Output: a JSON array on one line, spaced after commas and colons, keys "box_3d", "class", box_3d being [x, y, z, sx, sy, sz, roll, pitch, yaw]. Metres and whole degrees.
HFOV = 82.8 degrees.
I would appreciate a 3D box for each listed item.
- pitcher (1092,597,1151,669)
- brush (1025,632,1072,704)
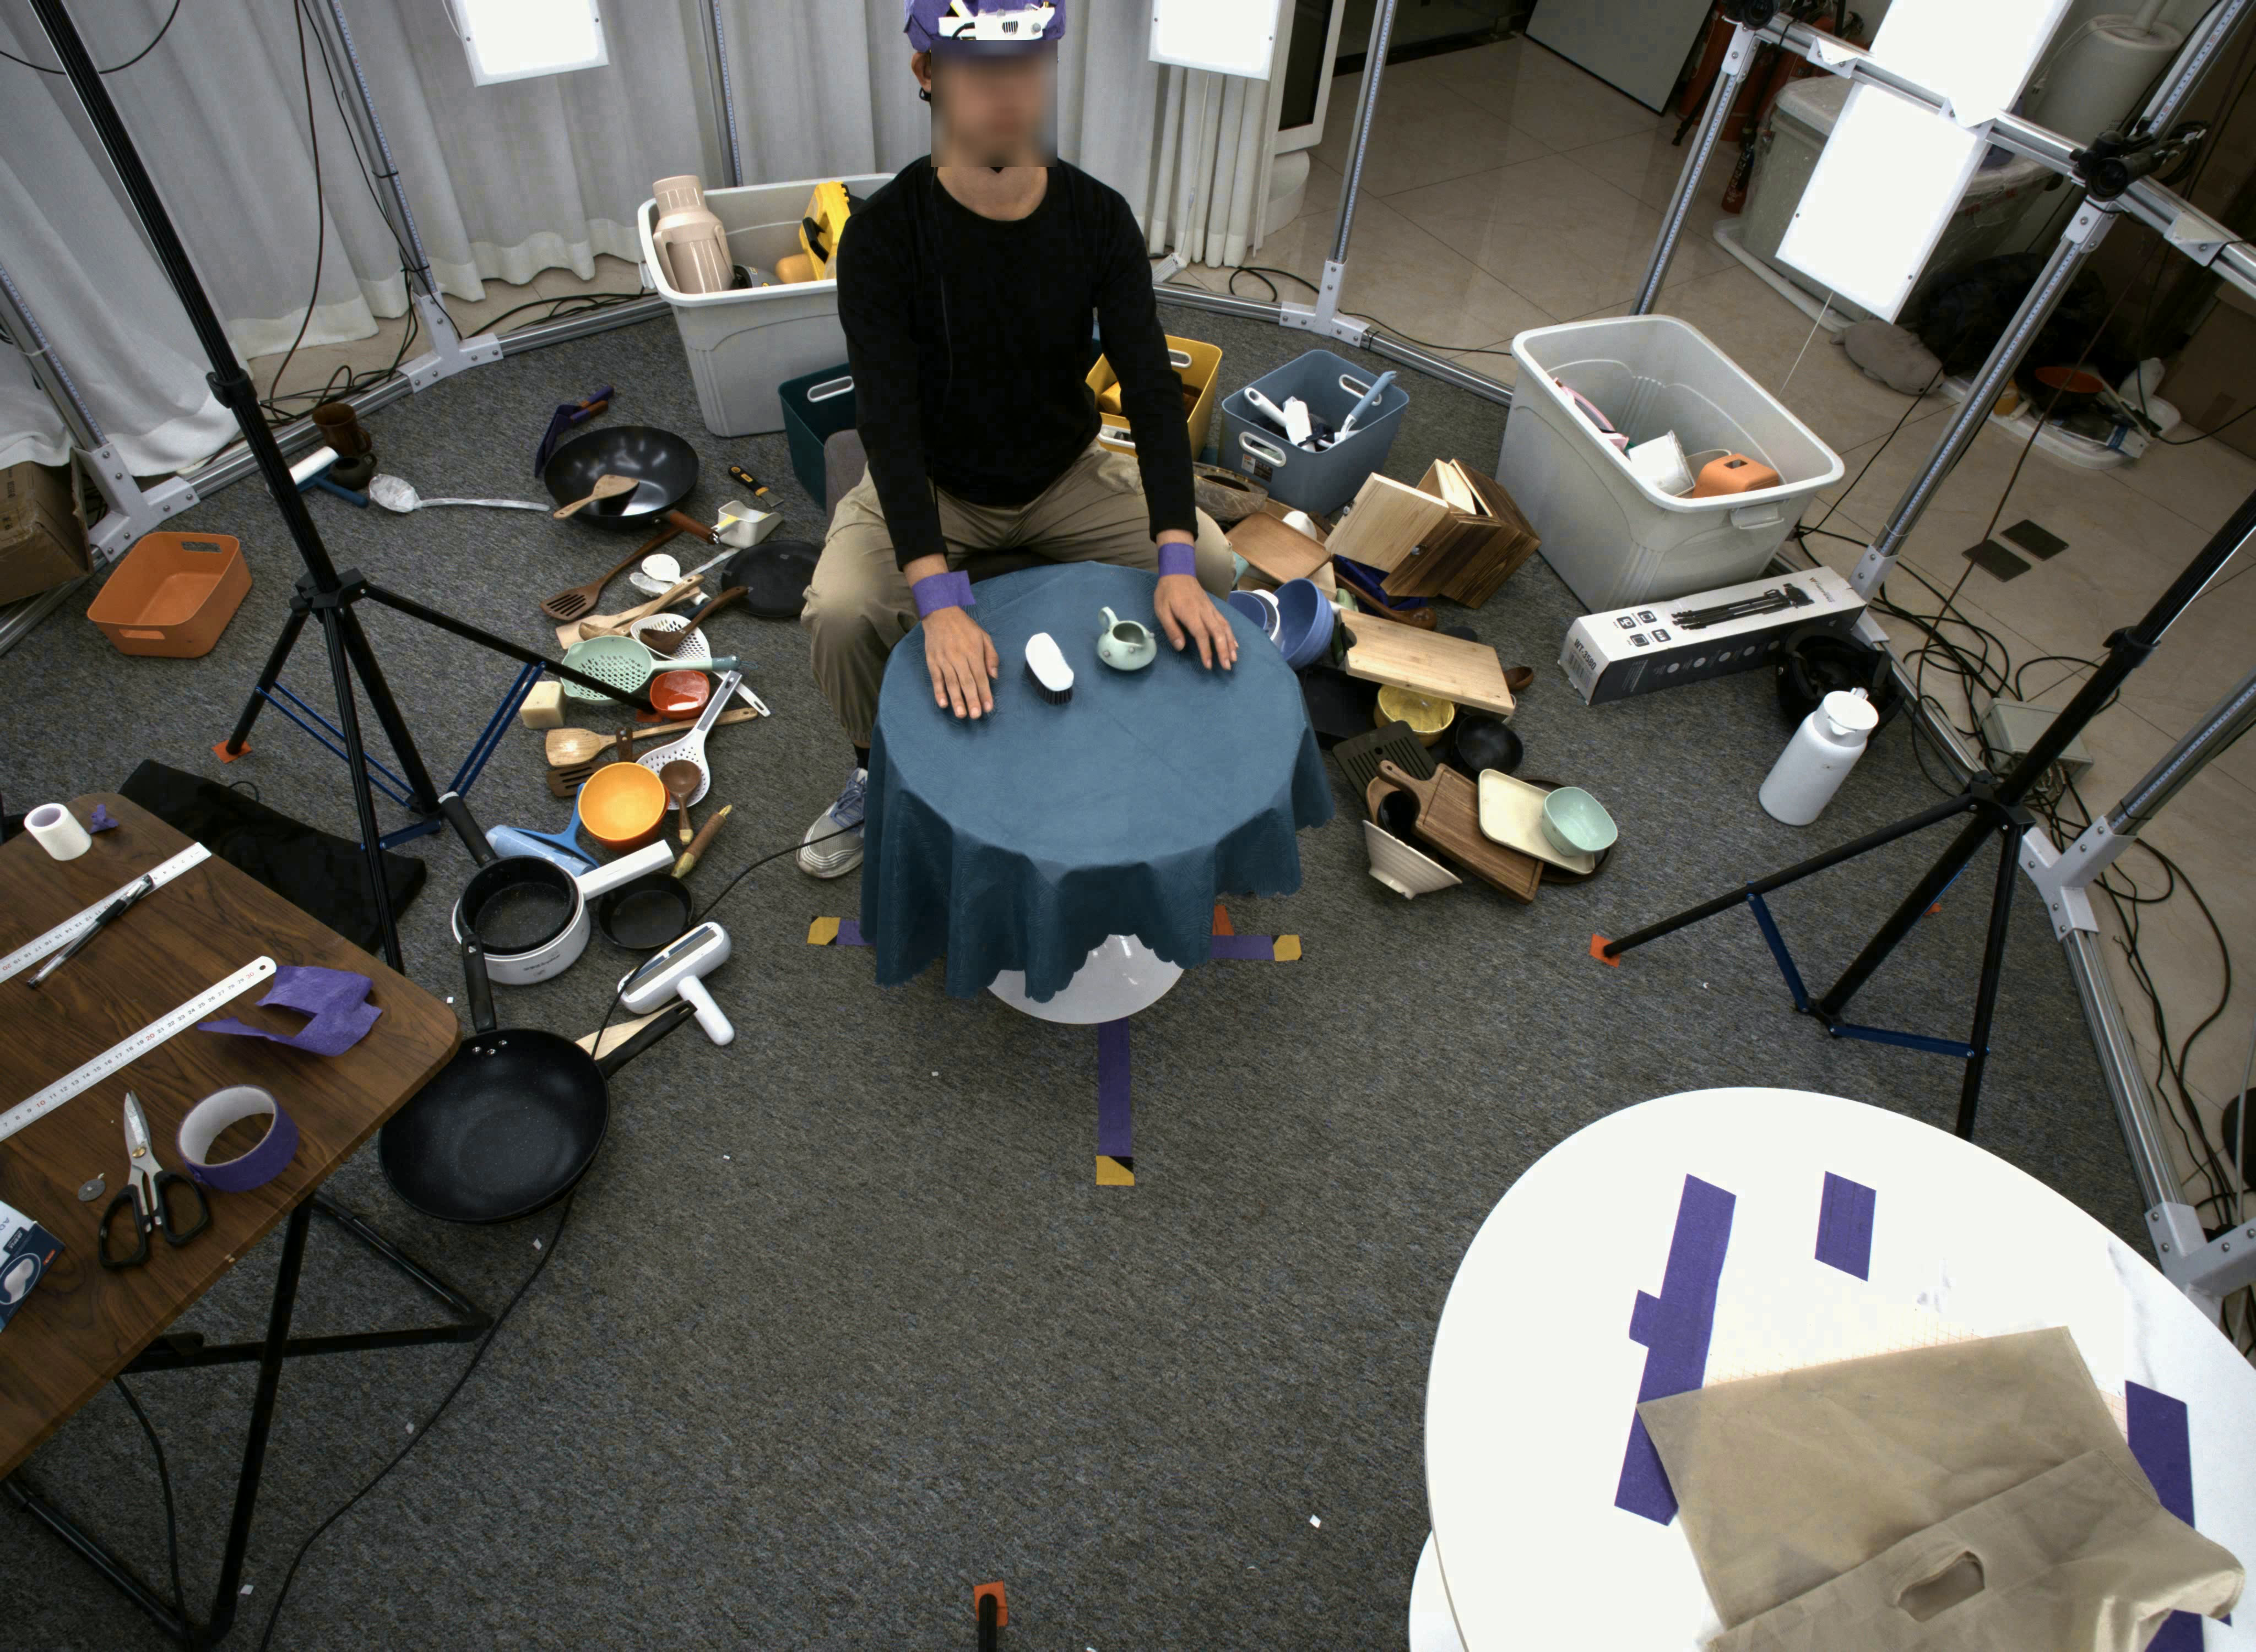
[{"box_3d": [-0.014, -0.281, 1.868, 0.086, 0.059, 0.110, -22, 70, -8], "class": "pitcher"}, {"box_3d": [-0.112, -0.230, 1.810, 0.050, 0.071, 0.101, -16, 53, -20], "class": "brush"}]
